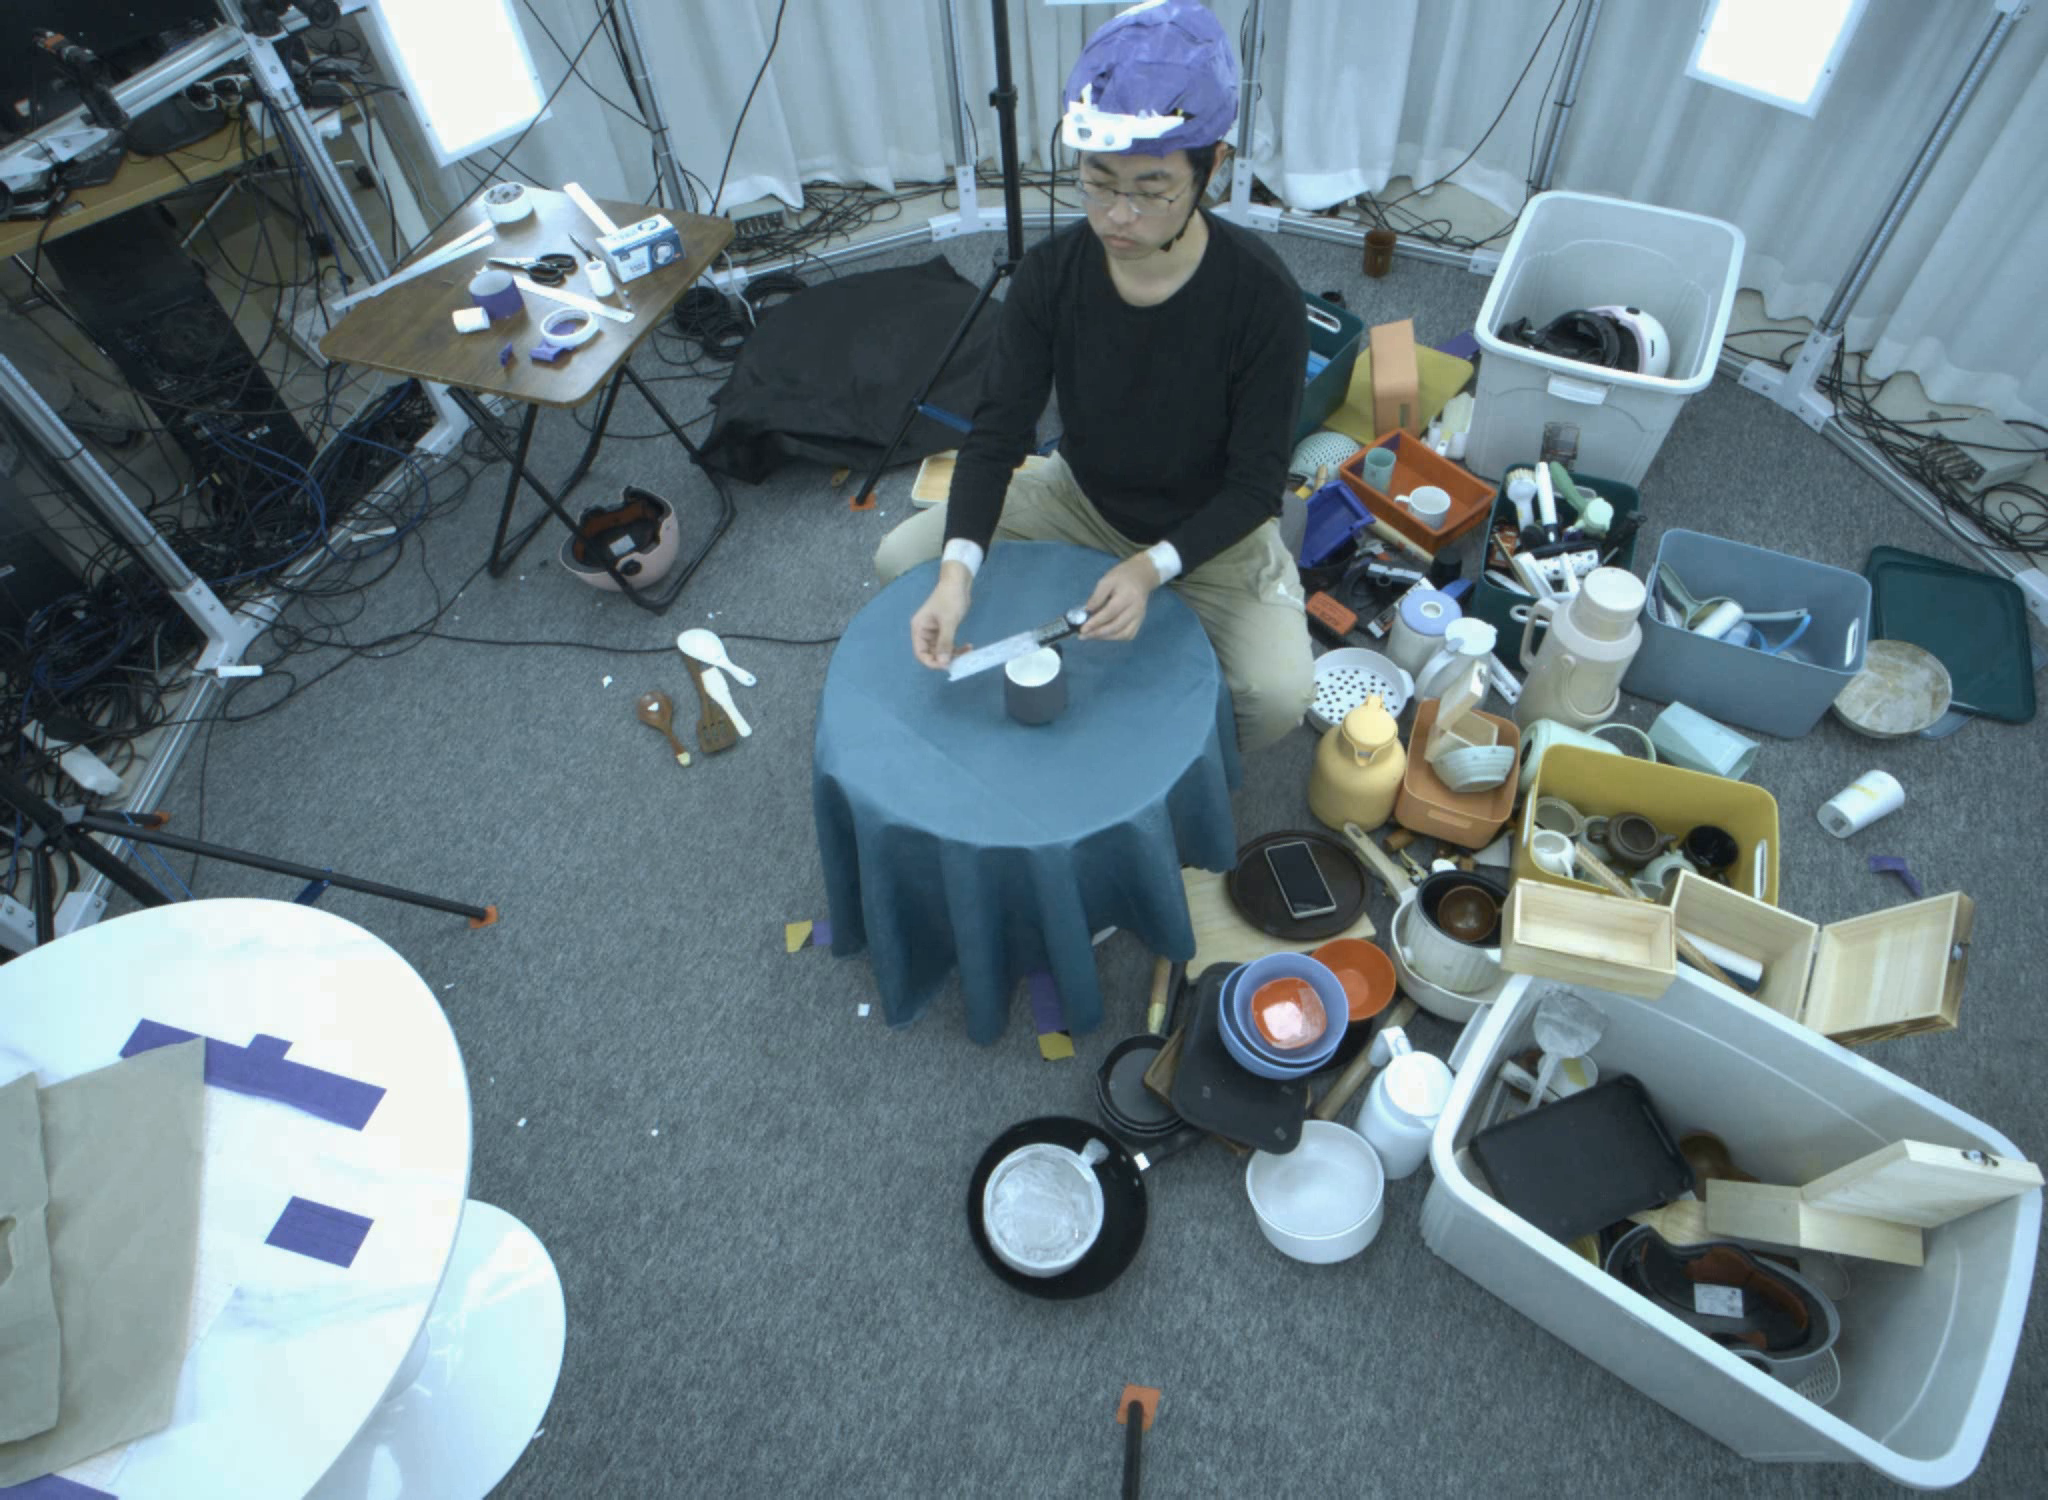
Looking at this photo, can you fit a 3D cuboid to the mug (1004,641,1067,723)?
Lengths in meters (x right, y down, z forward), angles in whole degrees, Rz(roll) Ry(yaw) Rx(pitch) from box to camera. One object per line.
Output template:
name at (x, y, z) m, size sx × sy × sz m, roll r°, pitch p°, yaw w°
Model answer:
mug at (0.023, -0.108, 1.805) m, size 0.092 × 0.091 × 0.123 m, roll 24°, pitch 61°, yaw 18°

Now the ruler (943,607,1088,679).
ruler at (-0.010, -0.157, 1.764) m, size 0.219 × 0.024 × 0.037 m, roll -20°, pitch 57°, yaw -11°
